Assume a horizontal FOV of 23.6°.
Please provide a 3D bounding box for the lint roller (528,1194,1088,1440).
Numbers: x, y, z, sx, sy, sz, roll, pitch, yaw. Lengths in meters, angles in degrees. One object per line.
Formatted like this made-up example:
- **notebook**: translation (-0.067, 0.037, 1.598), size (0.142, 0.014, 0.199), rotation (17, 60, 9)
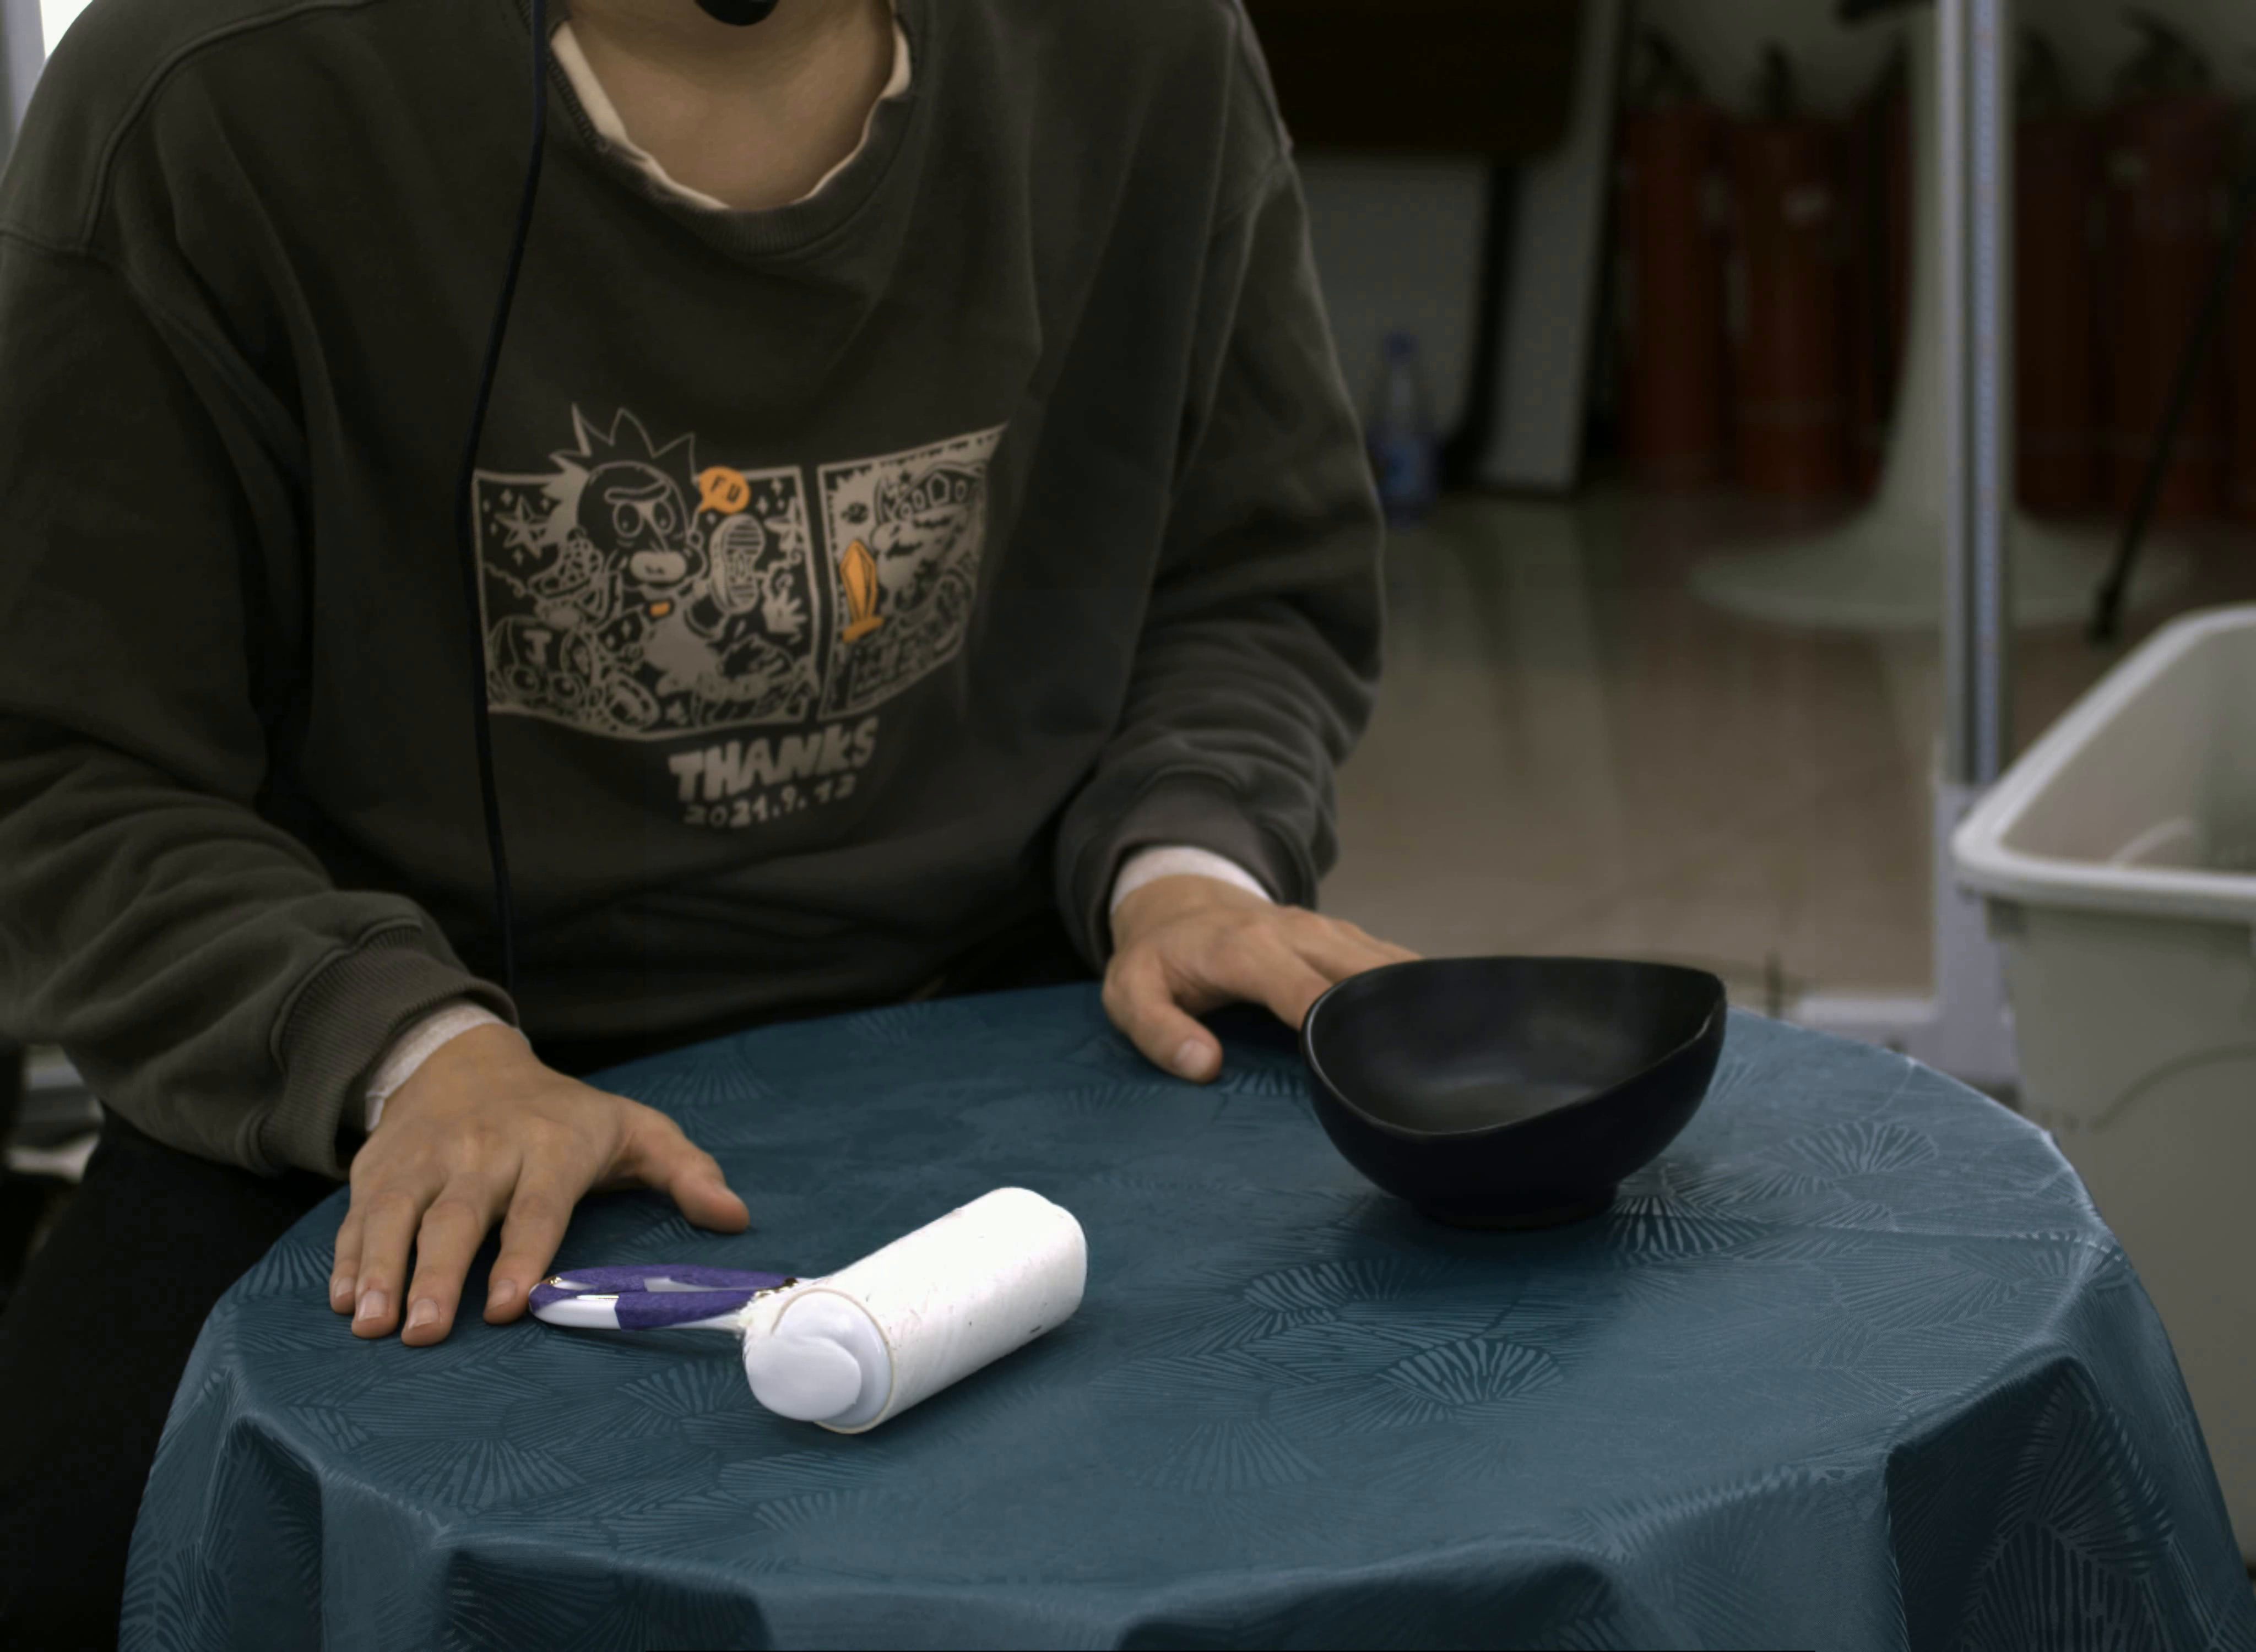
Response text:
- **lint roller**: translation (-0.111, 0.138, 1.641), size (0.182, 0.051, 0.130), rotation (9, 19, 36)

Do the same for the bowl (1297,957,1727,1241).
- **bowl**: translation (0.125, 0.092, 1.730), size (0.137, 0.067, 0.168), rotation (0, 16, 20)
